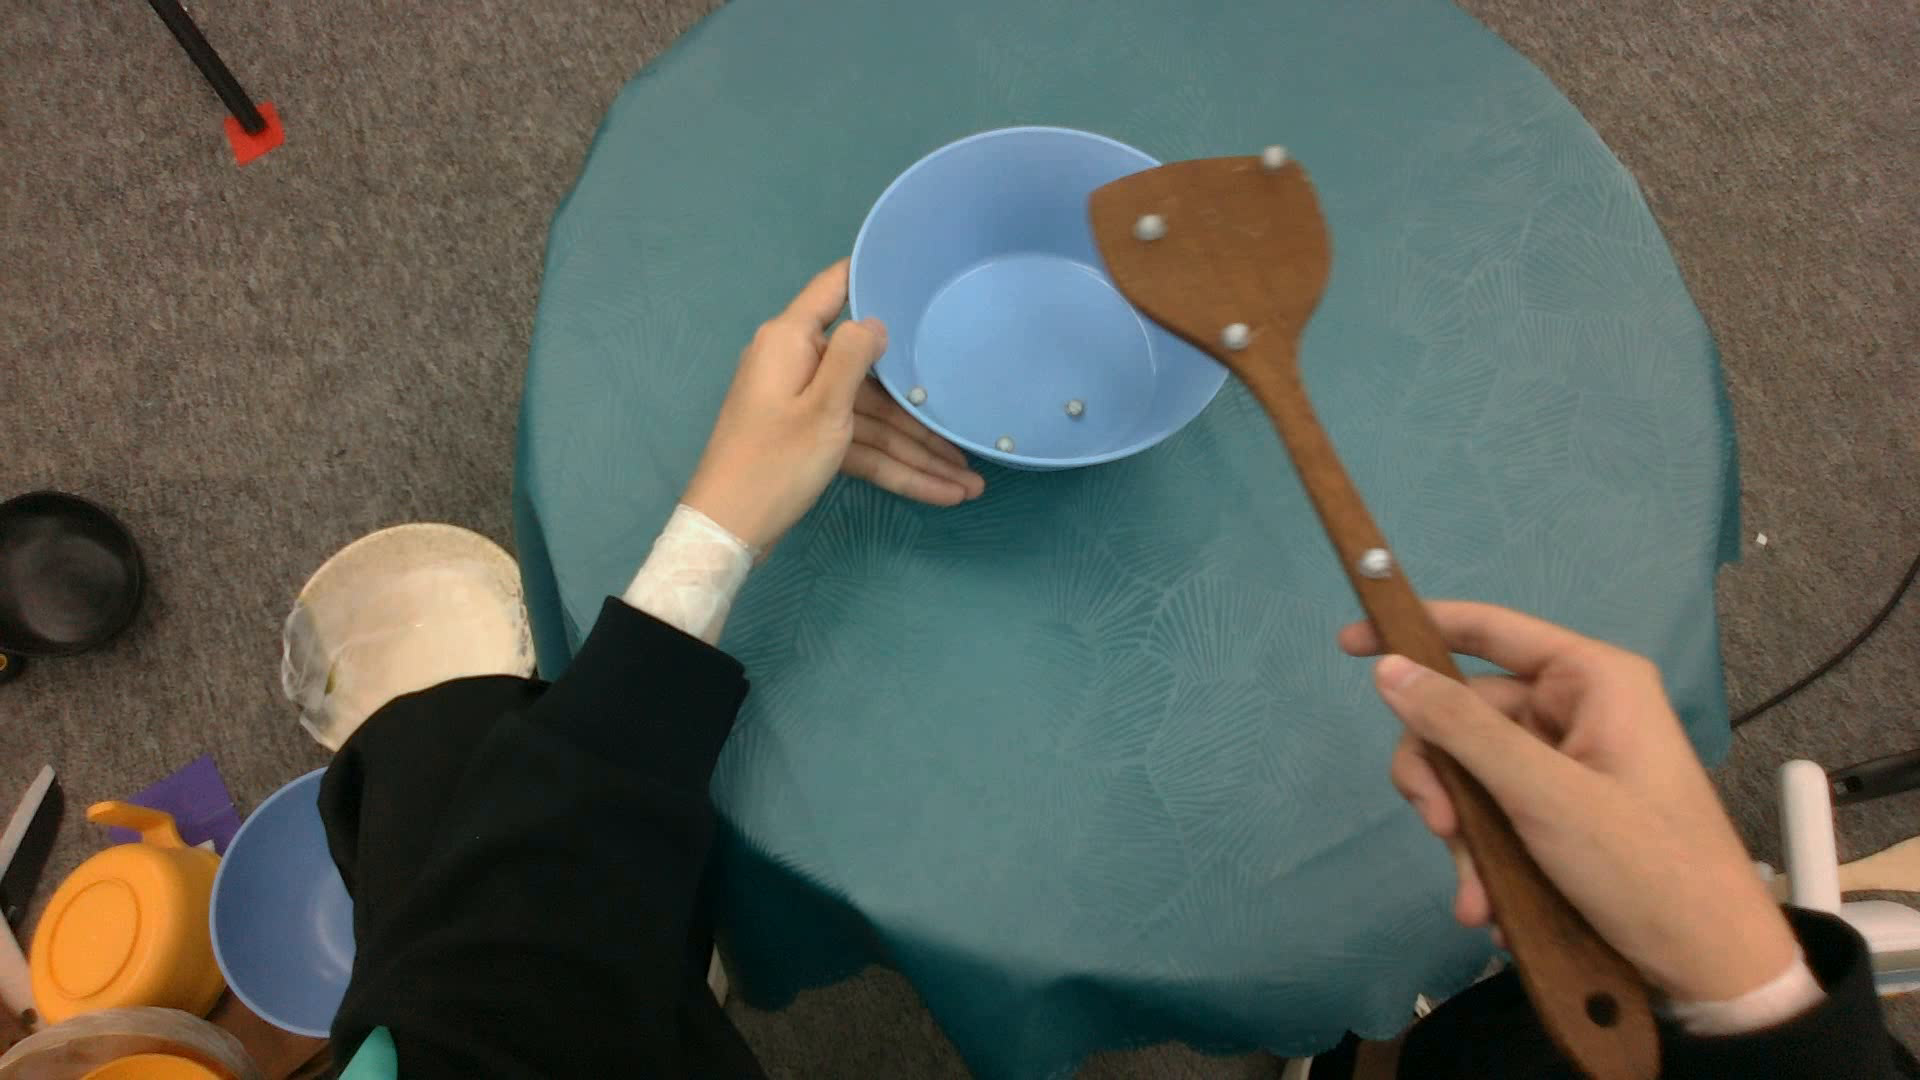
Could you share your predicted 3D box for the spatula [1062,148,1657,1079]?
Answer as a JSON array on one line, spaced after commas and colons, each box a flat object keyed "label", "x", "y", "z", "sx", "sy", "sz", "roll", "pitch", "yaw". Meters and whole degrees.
[{"label": "spatula", "x": 0.131, "y": -0.010, "z": 0.475, "sx": 0.096, "sy": 0.016, "sz": 0.387, "roll": -11, "pitch": 55, "yaw": -9}]

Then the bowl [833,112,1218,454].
[{"label": "bowl", "x": 0.030, "y": -0.107, "z": 0.641, "sx": 0.176, "sy": 0.070, "sz": 0.176, "roll": 1, "pitch": 68, "yaw": -3}]
